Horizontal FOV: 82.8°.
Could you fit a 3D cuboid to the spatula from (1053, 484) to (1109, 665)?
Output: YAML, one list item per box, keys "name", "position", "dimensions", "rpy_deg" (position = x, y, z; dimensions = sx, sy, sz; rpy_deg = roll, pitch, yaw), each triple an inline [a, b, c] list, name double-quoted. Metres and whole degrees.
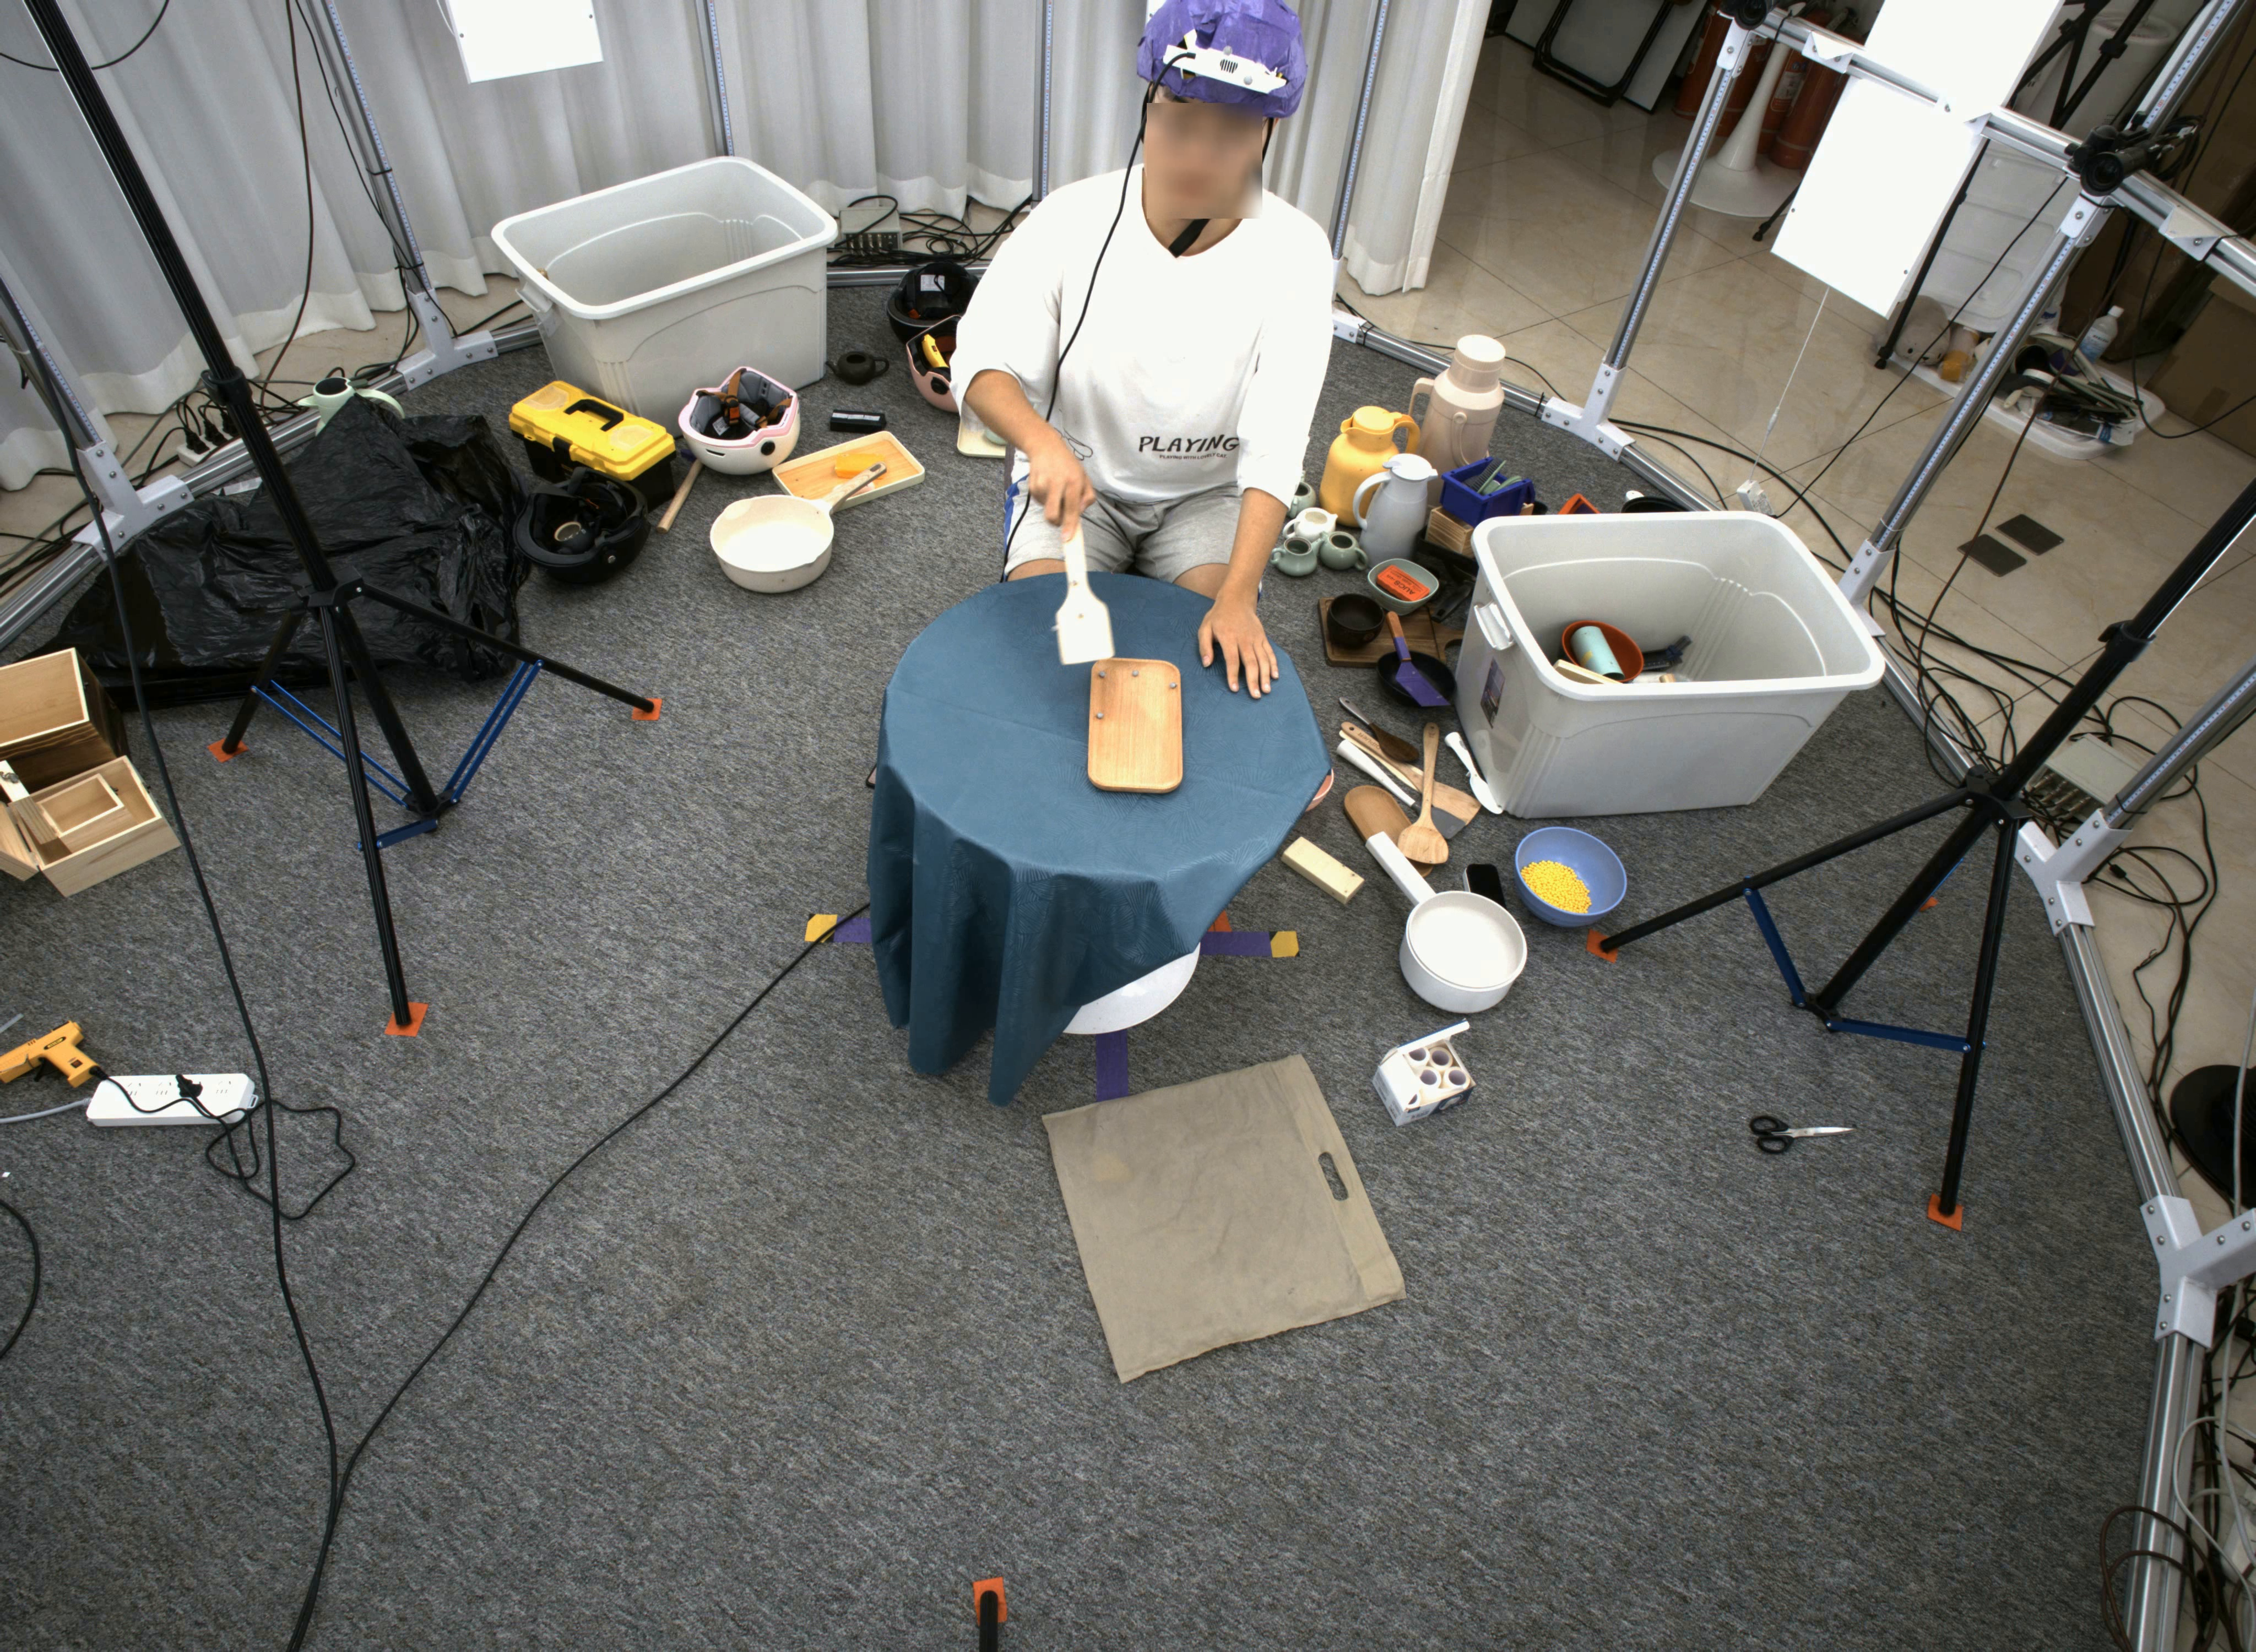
- name: "spatula"
  position: [-0.078, -0.356, 1.800]
  dimensions: [0.072, 0.010, 0.298]
  rpy_deg: [-8, 66, 2]

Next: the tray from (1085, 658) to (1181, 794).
- name: "tray"
  position: [0.009, -0.142, 1.777]
  dimensions: [0.130, 0.022, 0.257]
  rpy_deg: [2, 49, 1]
